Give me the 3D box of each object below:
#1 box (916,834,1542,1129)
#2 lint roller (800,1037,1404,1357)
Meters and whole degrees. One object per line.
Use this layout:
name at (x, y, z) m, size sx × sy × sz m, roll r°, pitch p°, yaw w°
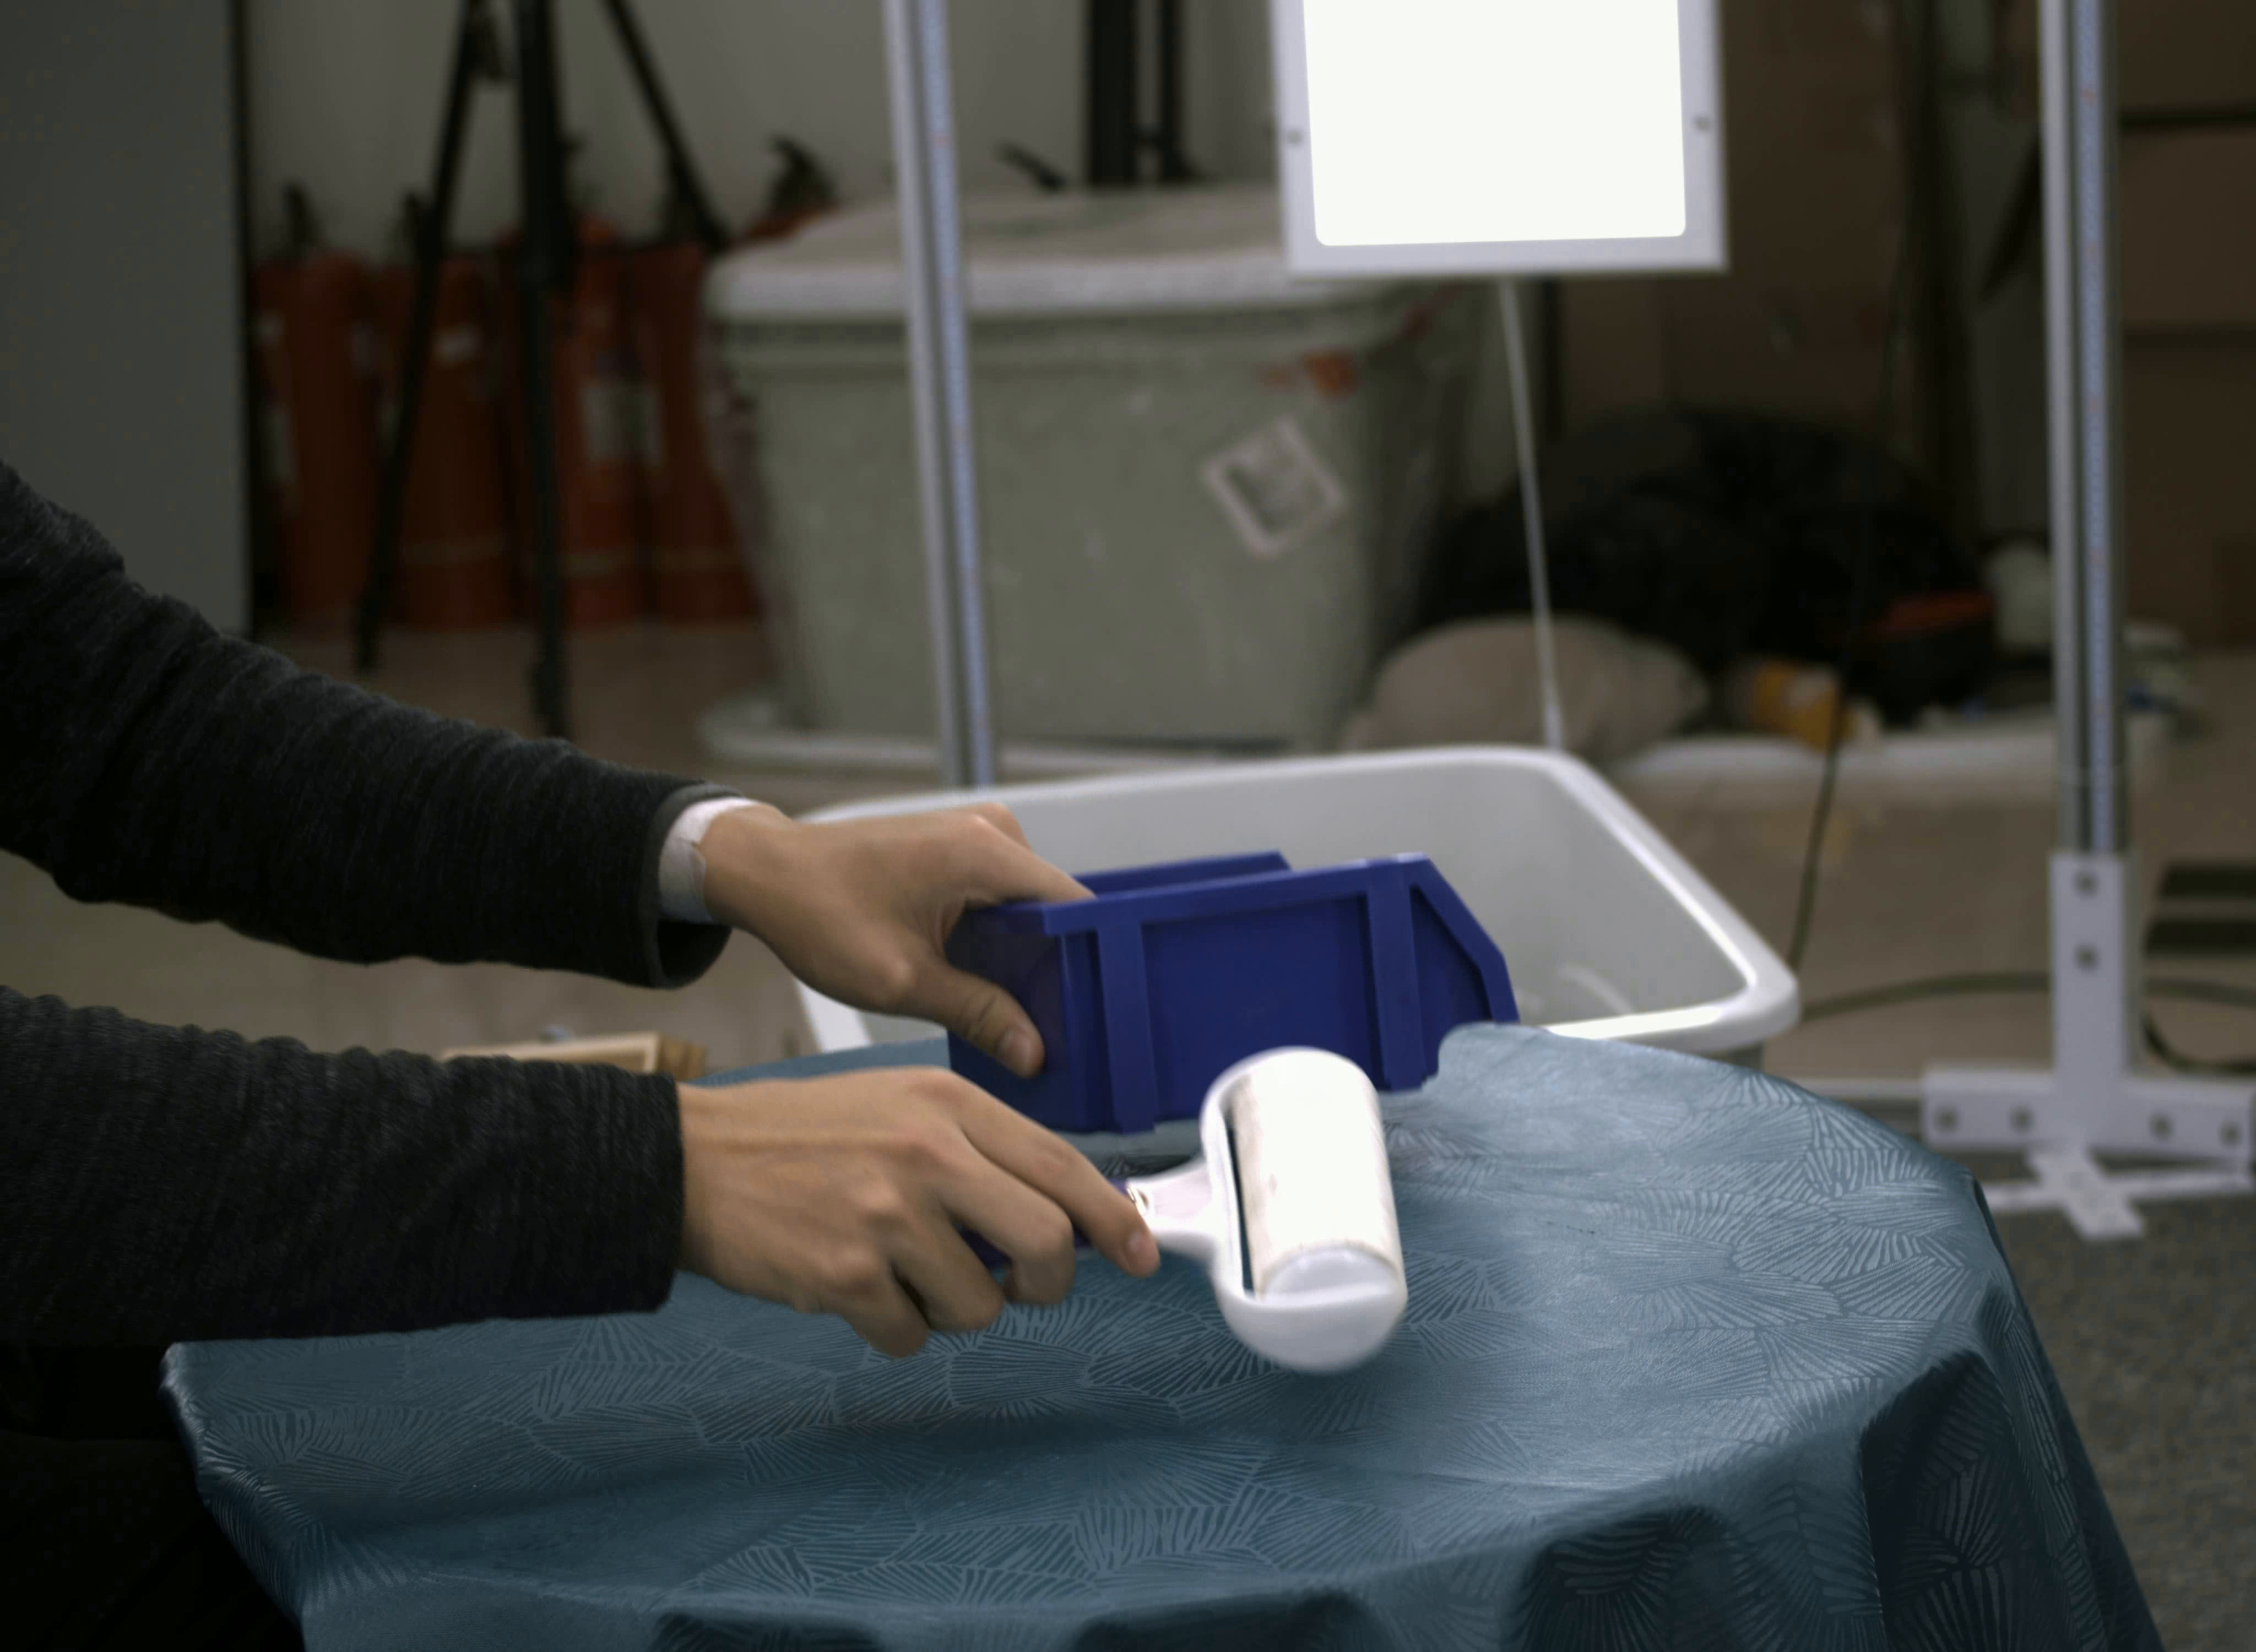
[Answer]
box at (0.035, 0.051, 1.913) m, size 0.176 × 0.082 × 0.126 m, roll -10°, pitch 4°, yaw -23°
lint roller at (-0.009, 0.108, 1.679) m, size 0.180 × 0.050 × 0.132 m, roll 4°, pitch 33°, yaw -3°
